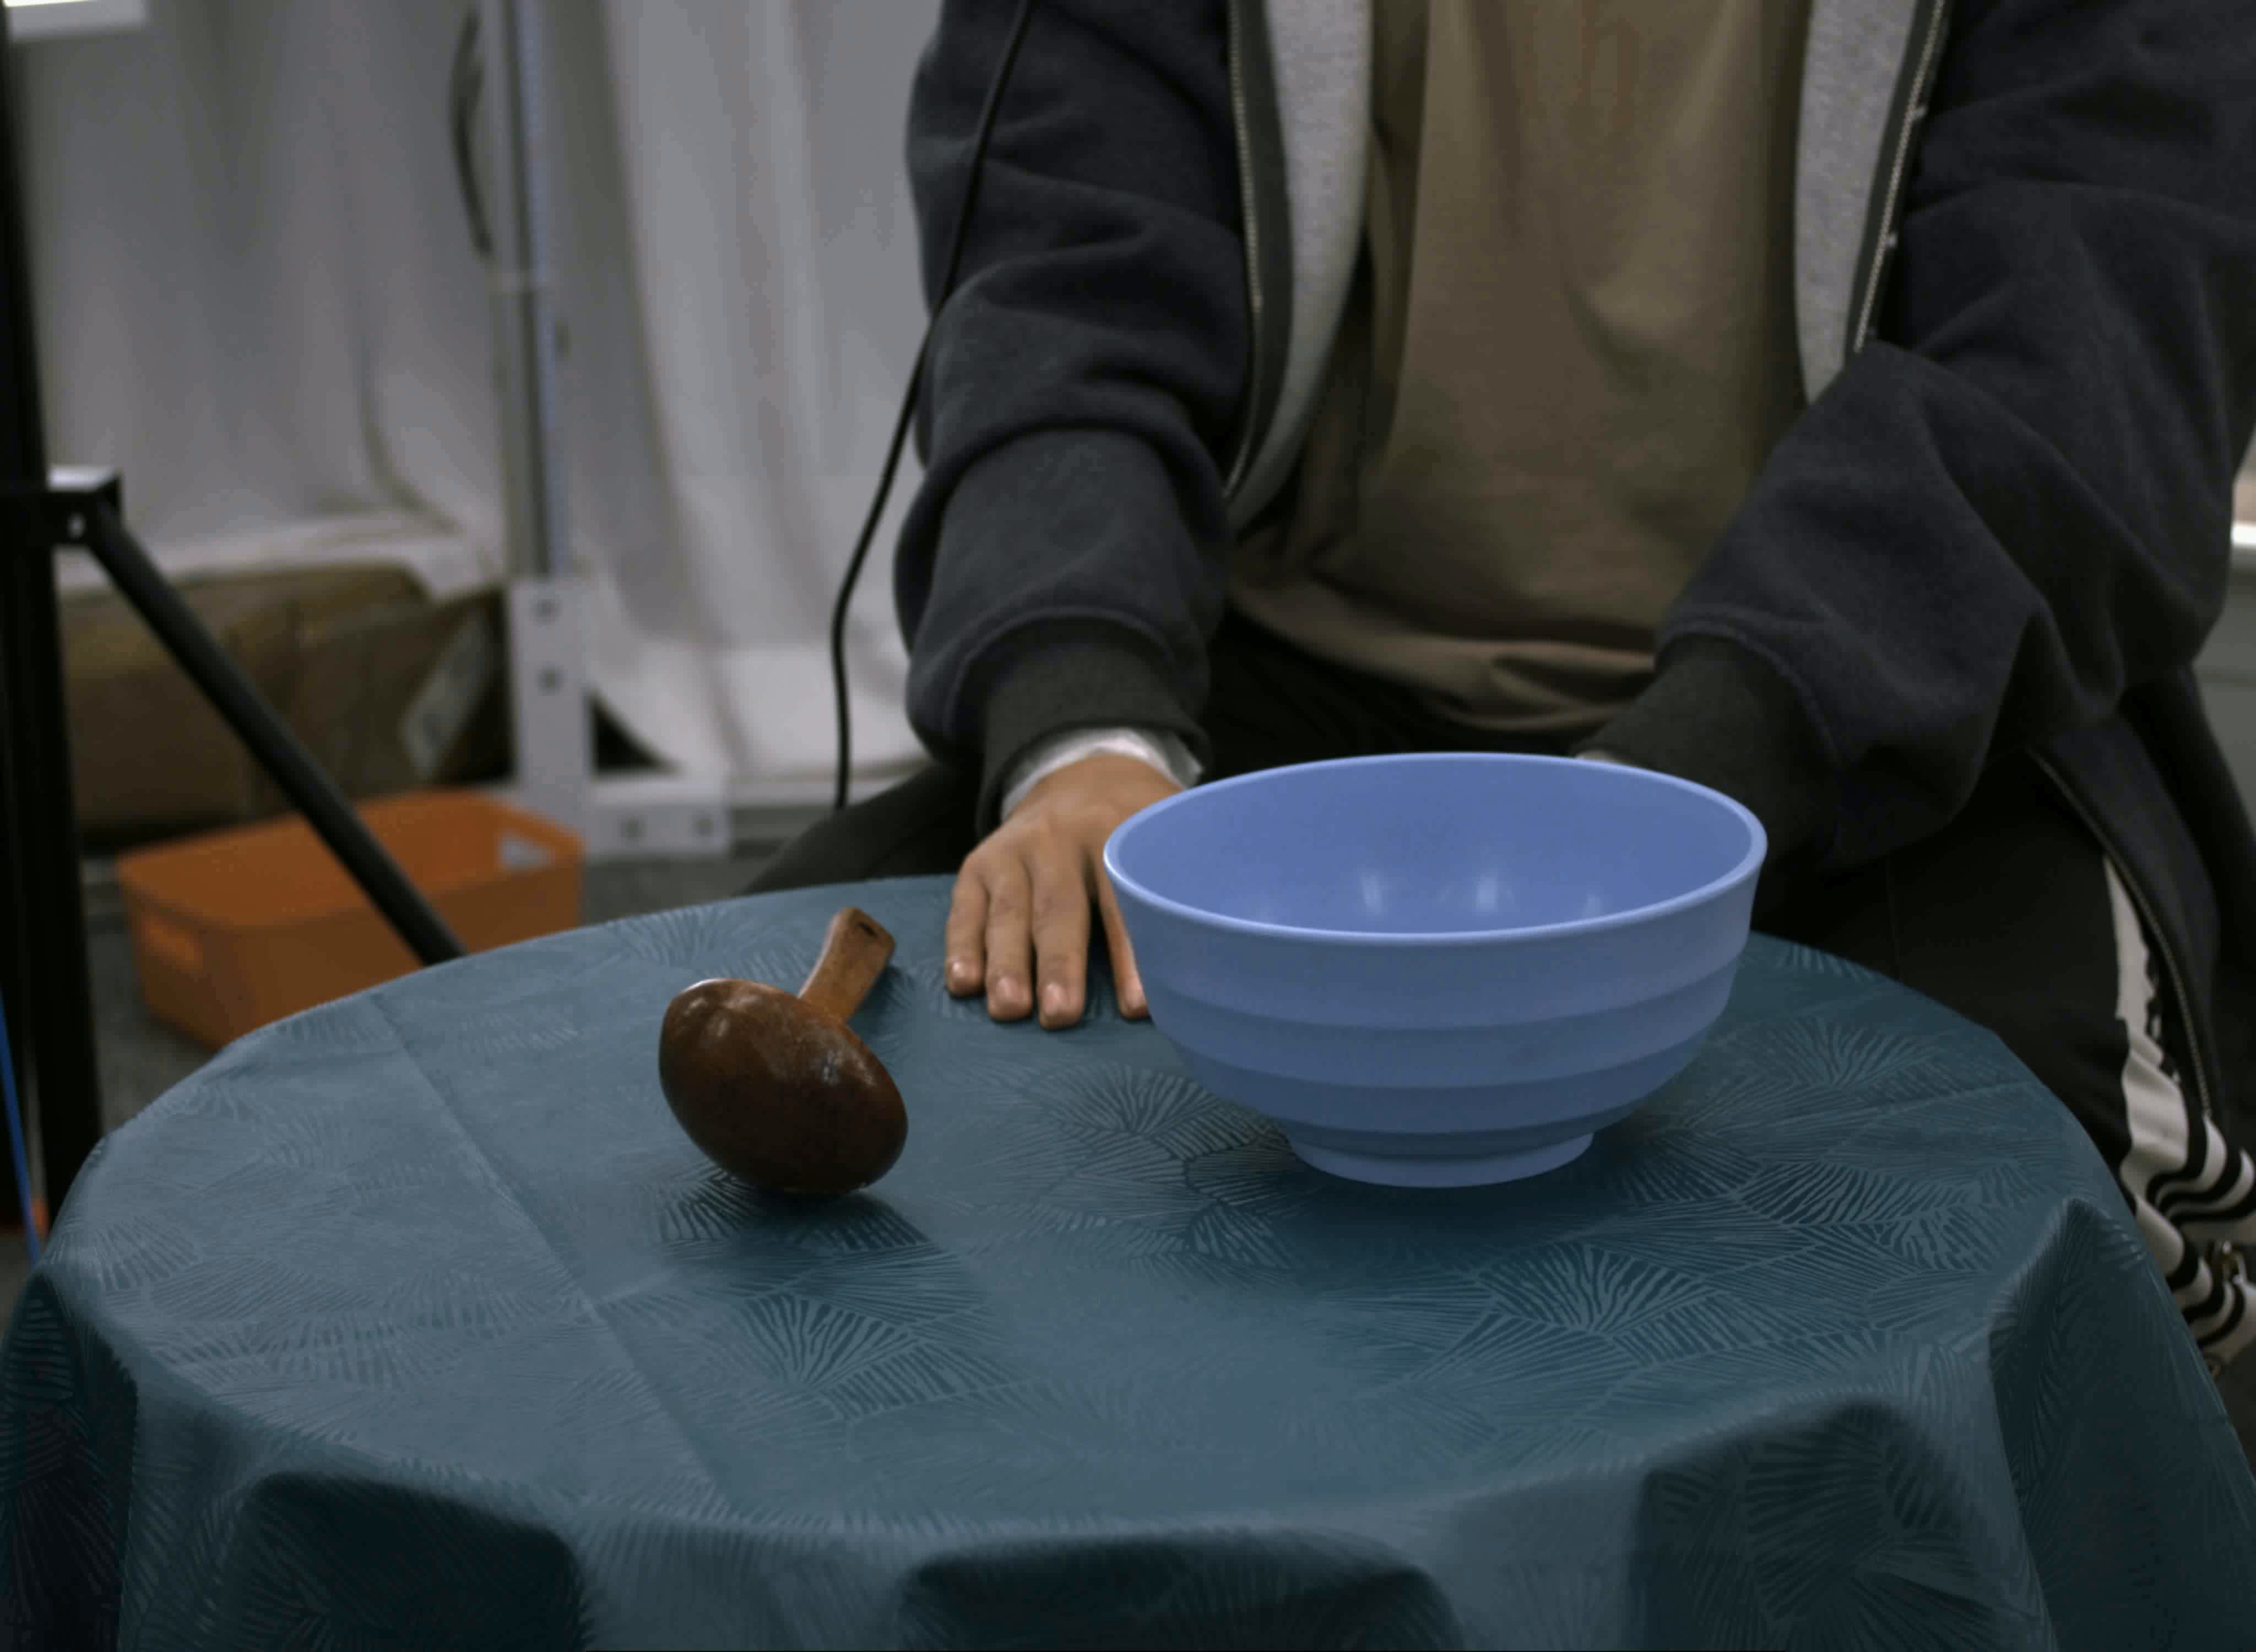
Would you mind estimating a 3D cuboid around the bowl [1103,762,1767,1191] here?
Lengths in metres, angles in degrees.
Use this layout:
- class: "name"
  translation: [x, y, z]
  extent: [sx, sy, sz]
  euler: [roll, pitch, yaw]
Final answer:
- class: "bowl"
  translation: [0.092, 0.050, 1.580]
  extent: [0.195, 0.095, 0.197]
  euler: [-3, 15, -1]

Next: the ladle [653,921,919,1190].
- class: "ladle"
  translation: [-0.087, 0.048, 1.656]
  extent: [0.082, 0.077, 0.273]
  euler: [38, 18, -1]
